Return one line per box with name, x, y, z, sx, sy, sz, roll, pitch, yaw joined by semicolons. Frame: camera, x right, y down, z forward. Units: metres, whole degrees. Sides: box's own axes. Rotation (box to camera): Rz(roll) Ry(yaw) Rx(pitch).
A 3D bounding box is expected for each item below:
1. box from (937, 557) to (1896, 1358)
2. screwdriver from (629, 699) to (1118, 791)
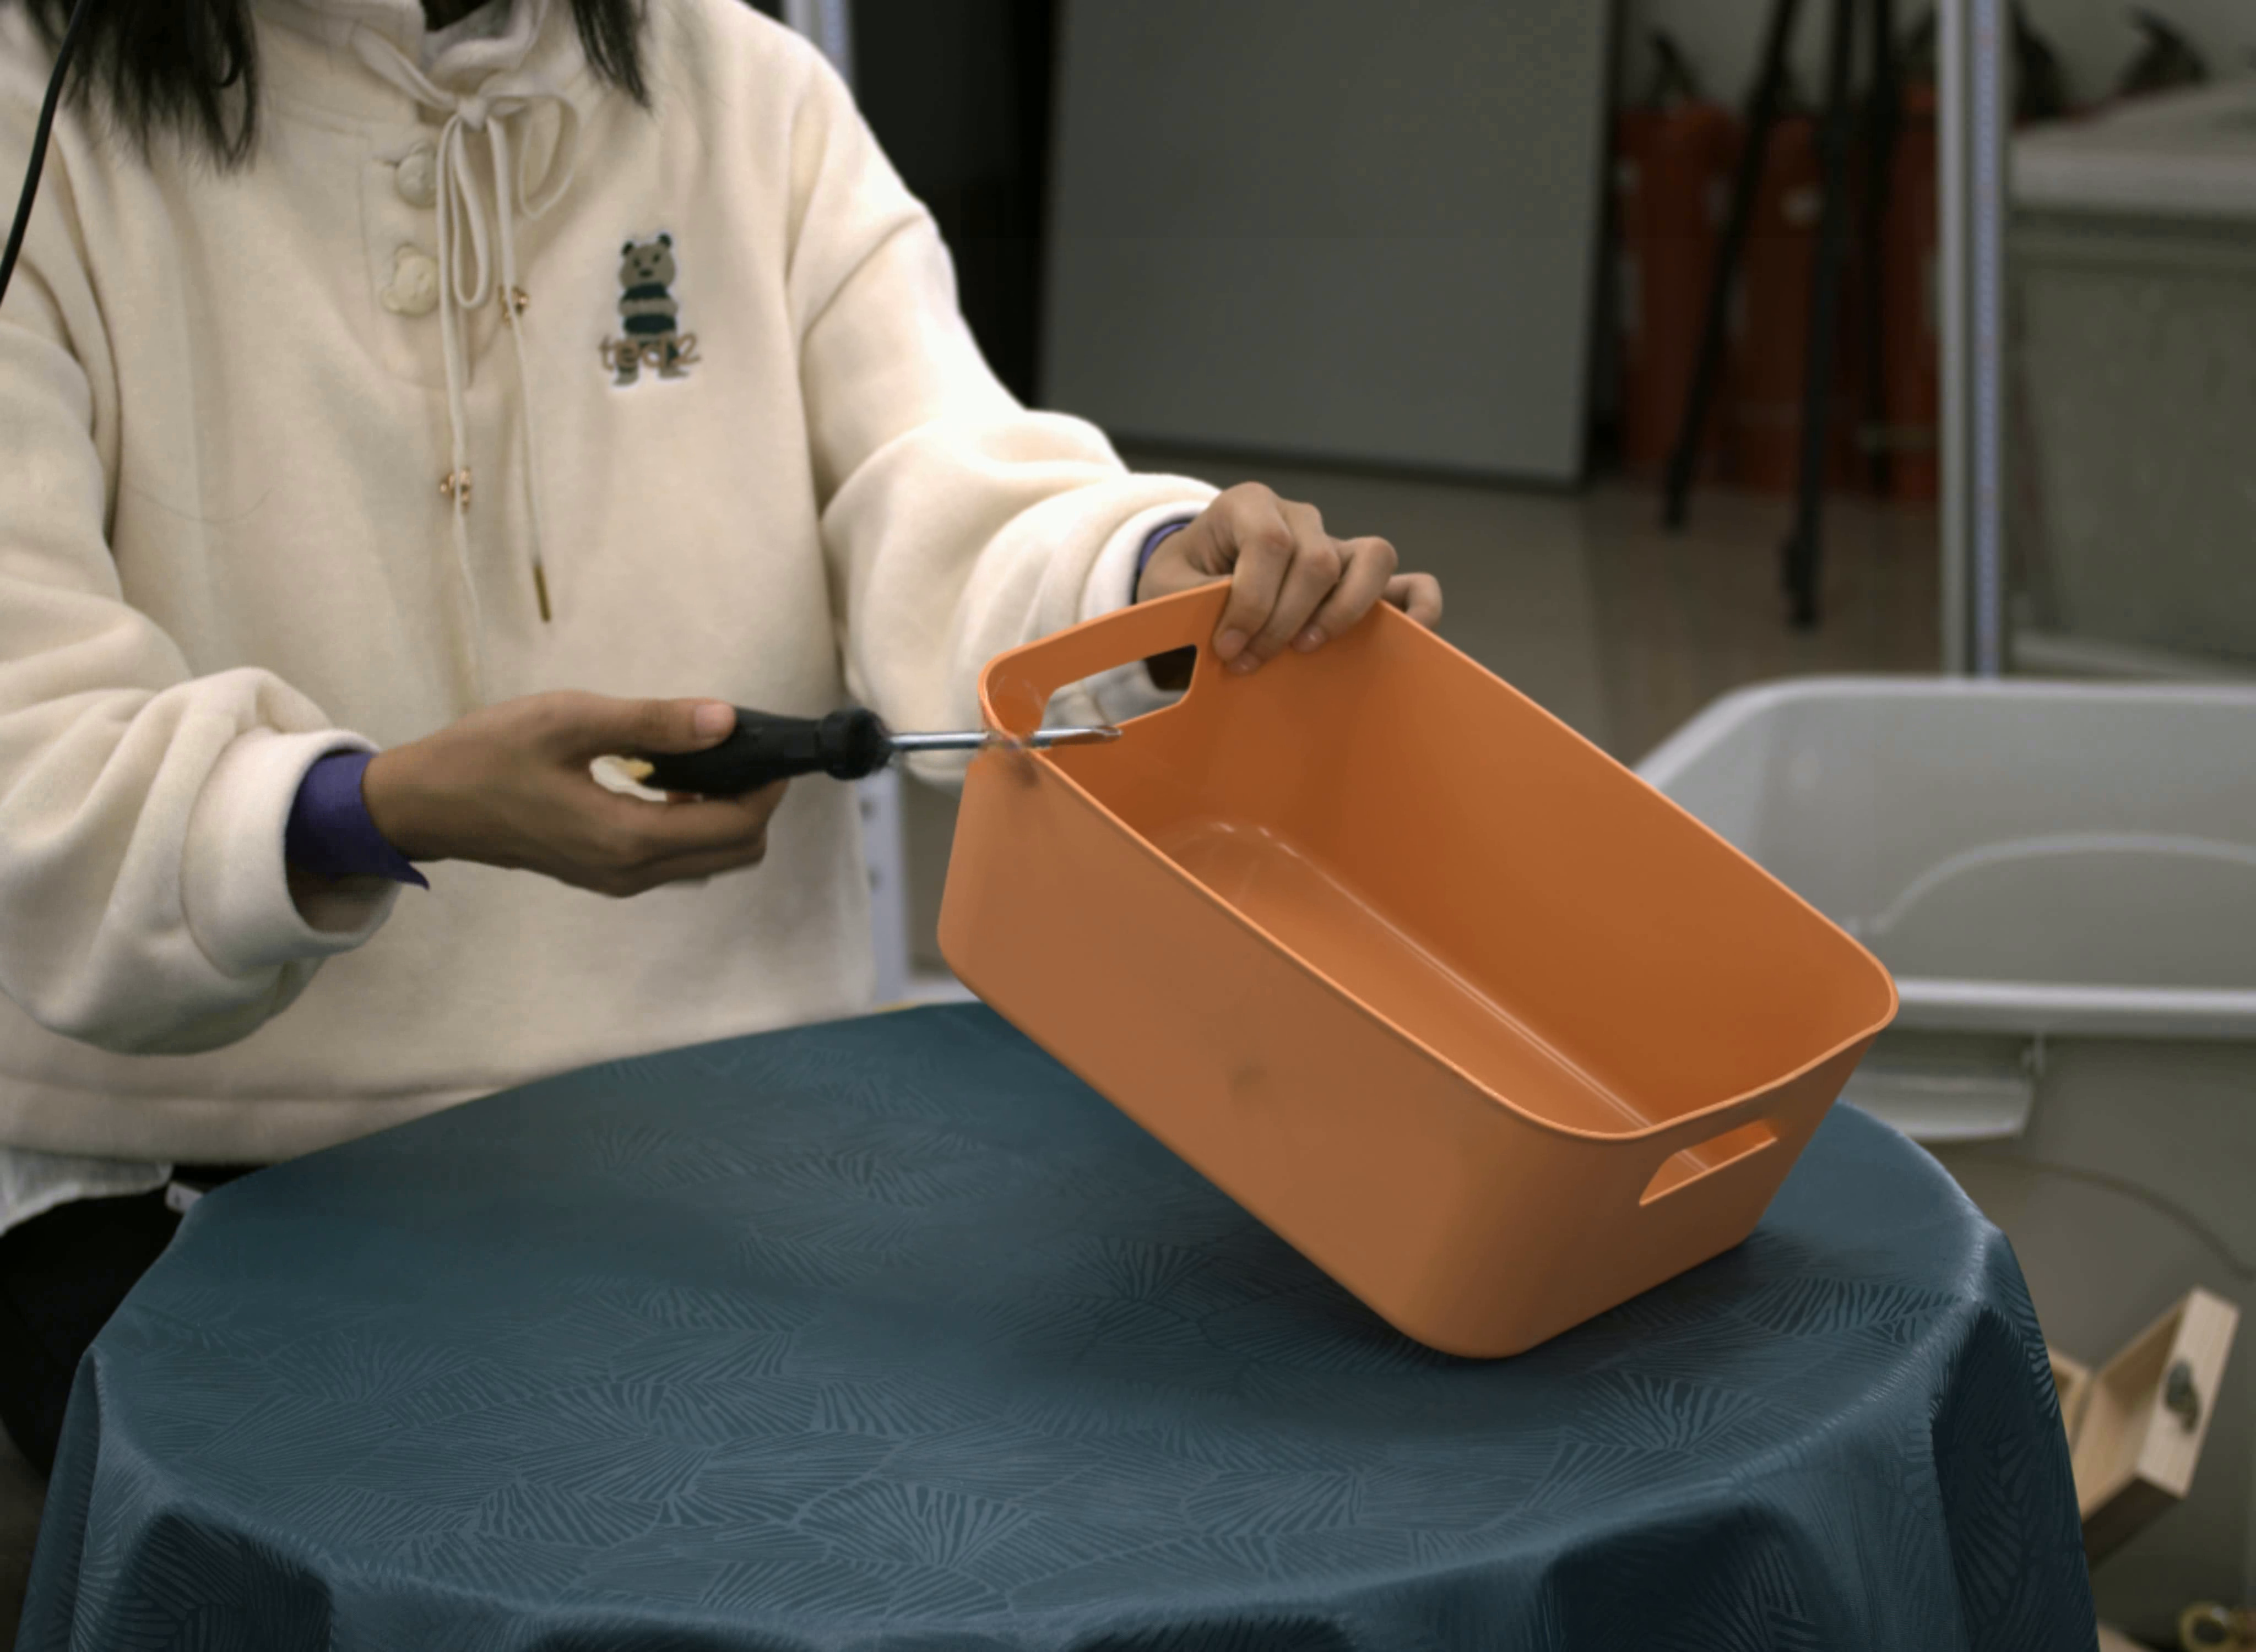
box;0.082;0.039;1.666;0.275;0.103;0.195;37;36;28
screwdriver;-0.081;-0.030;1.750;0.197;0.032;0.031;-3;11;33
